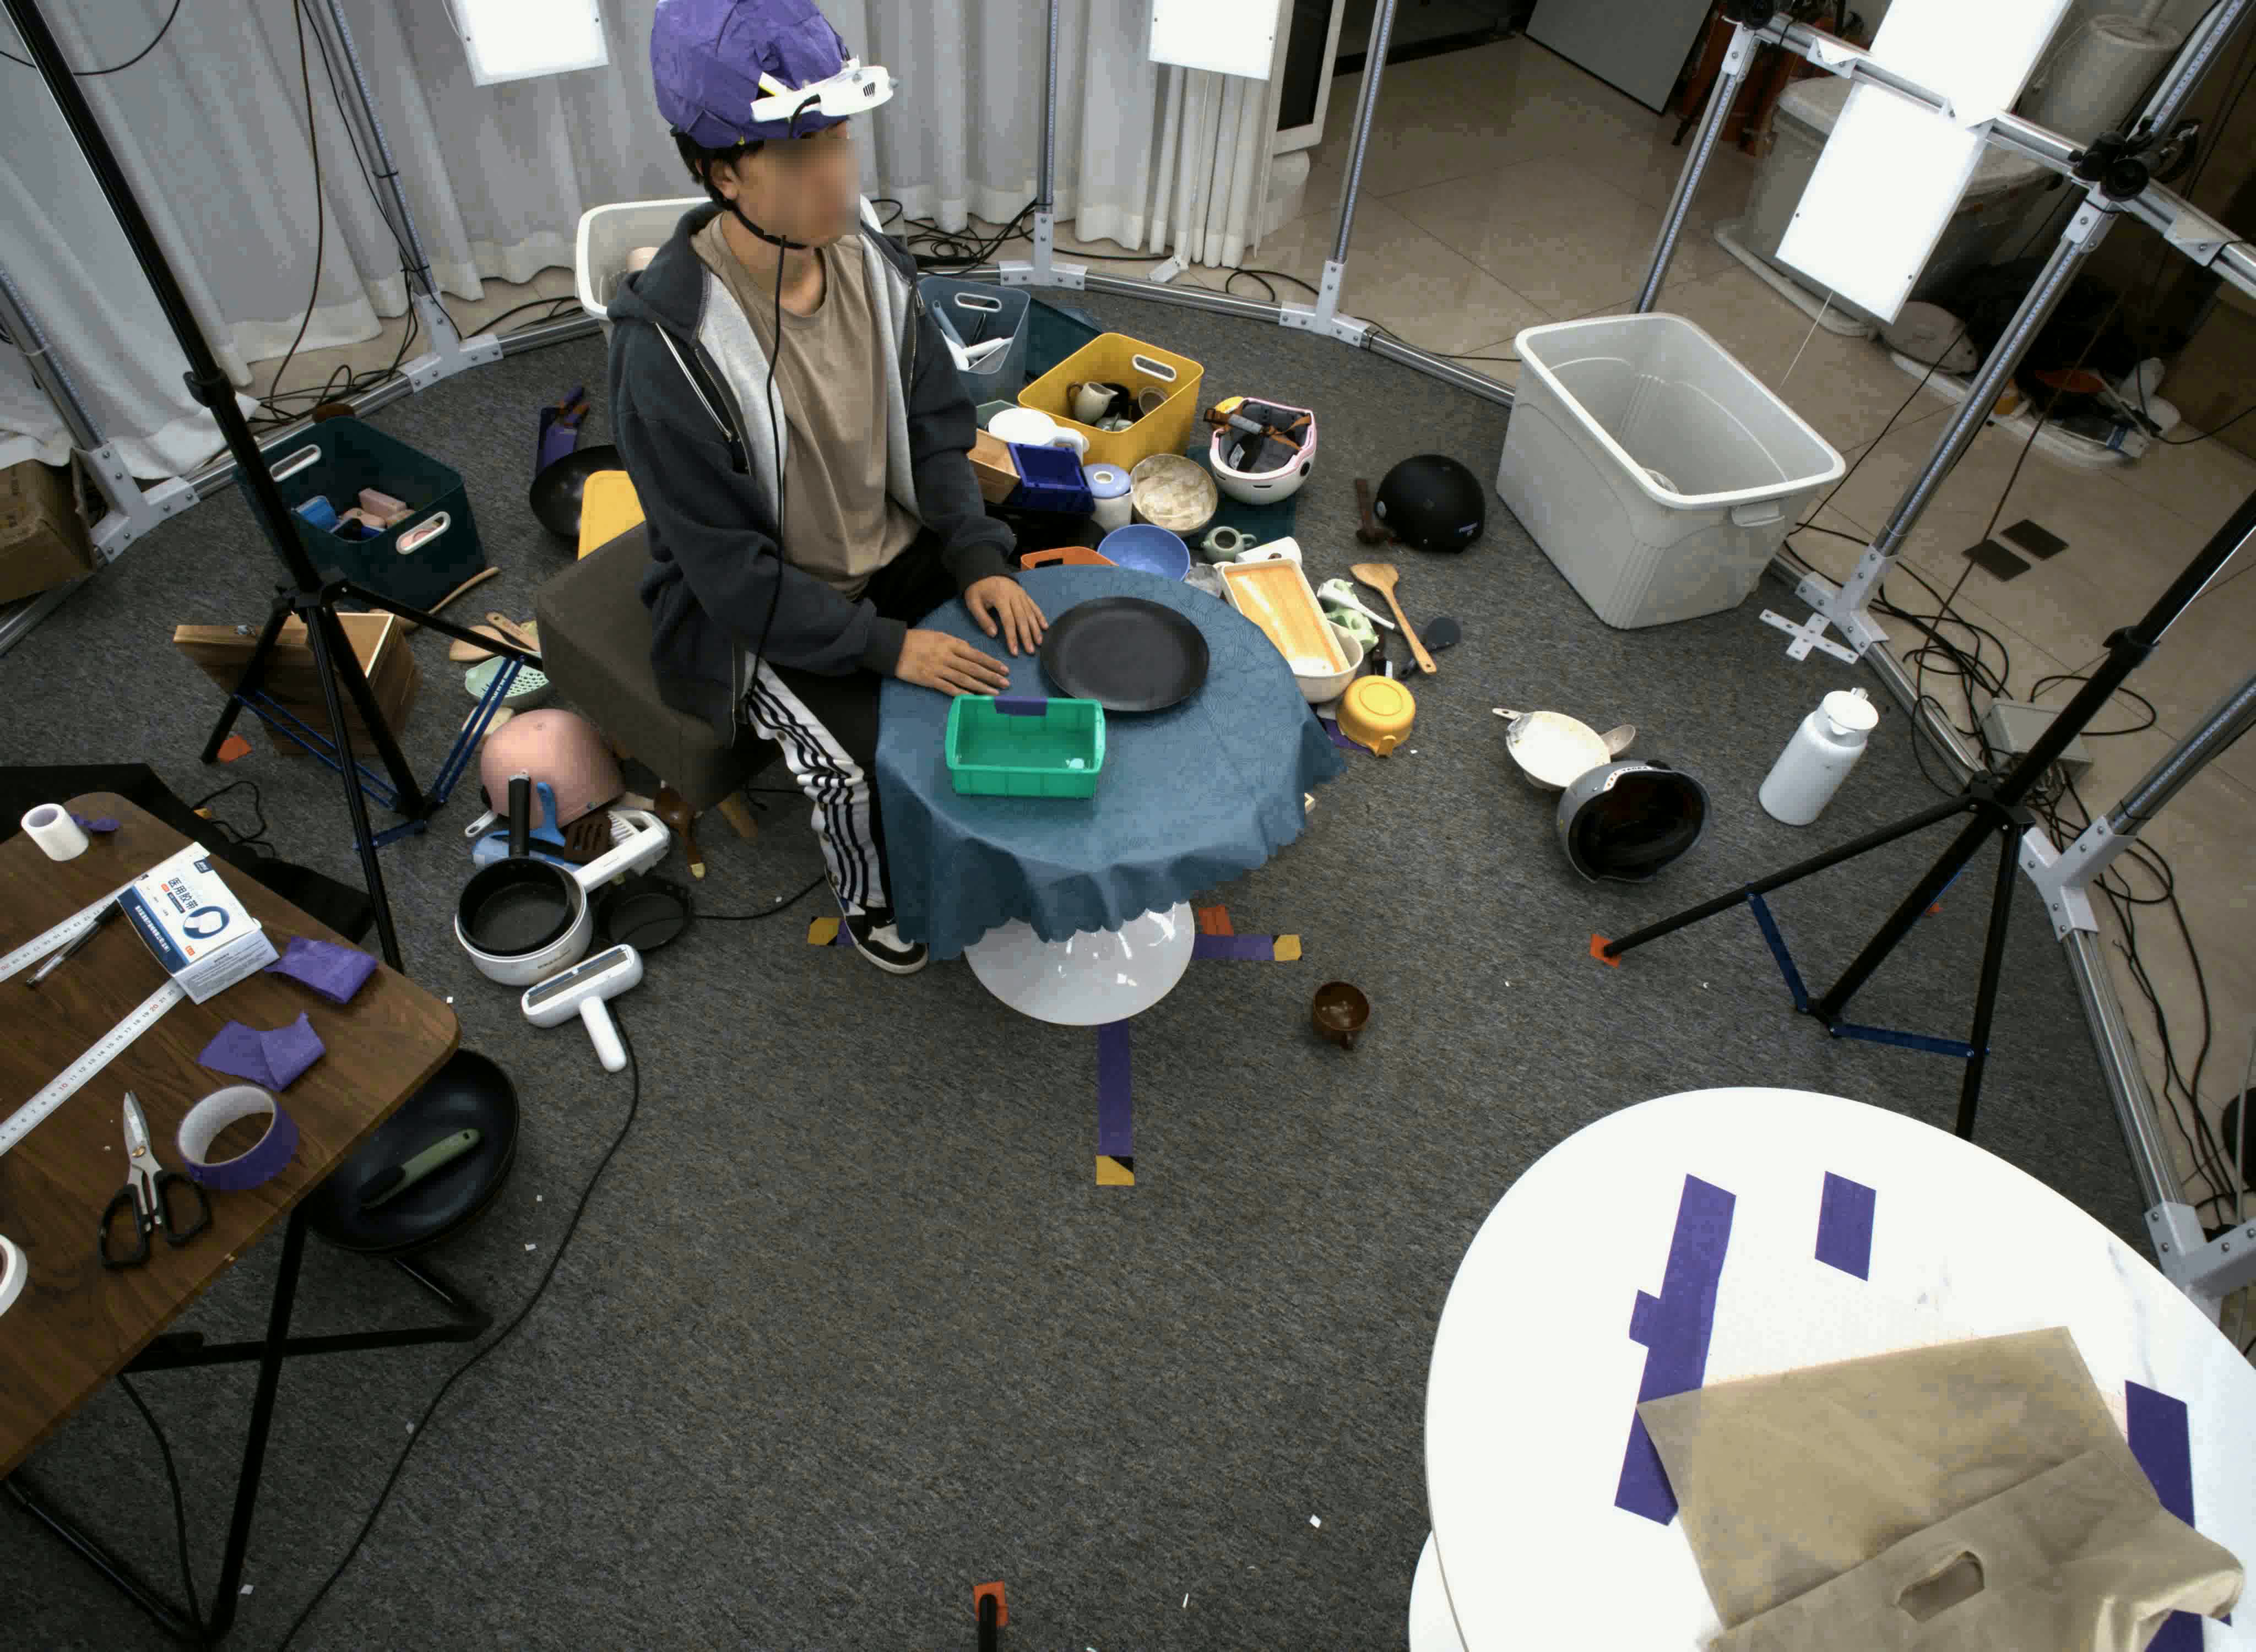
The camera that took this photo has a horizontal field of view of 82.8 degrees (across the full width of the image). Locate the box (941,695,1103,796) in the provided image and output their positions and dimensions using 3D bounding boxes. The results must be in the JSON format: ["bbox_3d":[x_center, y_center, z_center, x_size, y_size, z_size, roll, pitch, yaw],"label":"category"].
[{"bbox_3d":[-0.139,-0.104,1.705,0.210,0.064,0.142,0,47,-2],"label":"box"}]

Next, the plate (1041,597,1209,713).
[{"bbox_3d":[-0.004,-0.246,1.865,0.244,0.023,0.250,2,49,-2],"label":"plate"}]
